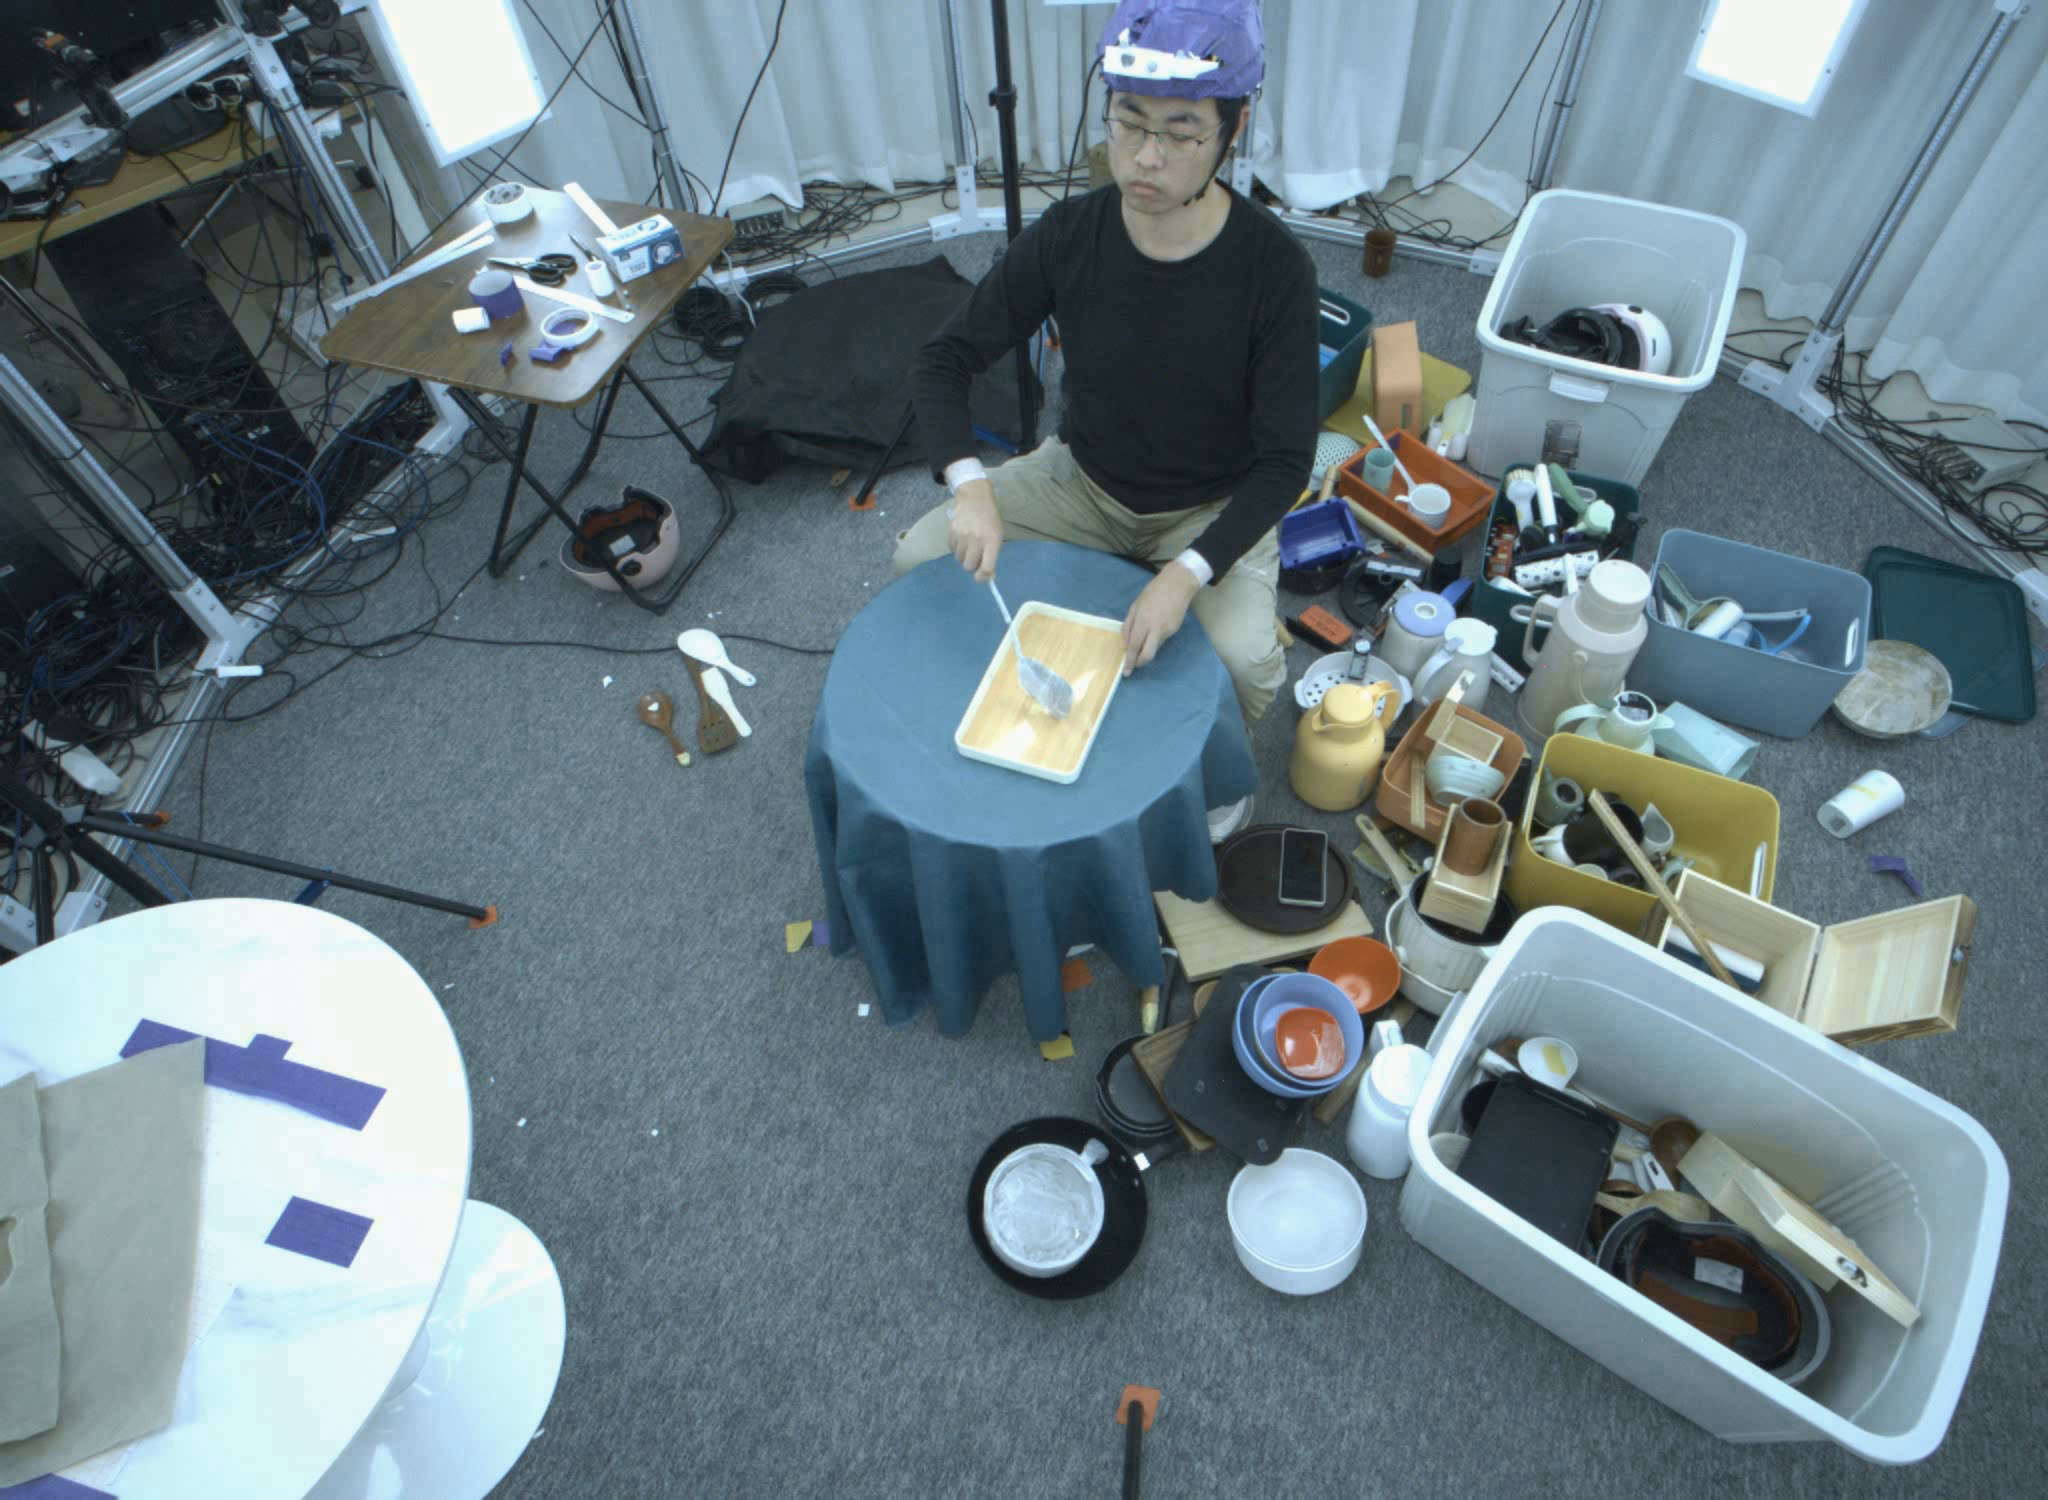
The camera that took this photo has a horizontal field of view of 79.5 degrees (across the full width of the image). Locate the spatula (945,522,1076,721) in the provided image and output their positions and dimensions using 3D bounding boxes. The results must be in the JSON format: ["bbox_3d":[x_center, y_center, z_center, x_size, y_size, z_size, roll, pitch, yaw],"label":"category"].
[{"bbox_3d":[-0.025,-0.203,1.810,0.045,0.098,0.361,-19,73,-22],"label":"spatula"}]

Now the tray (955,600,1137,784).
[{"bbox_3d":[0.037,-0.093,1.835,0.189,0.028,0.300,17,57,13],"label":"tray"}]
